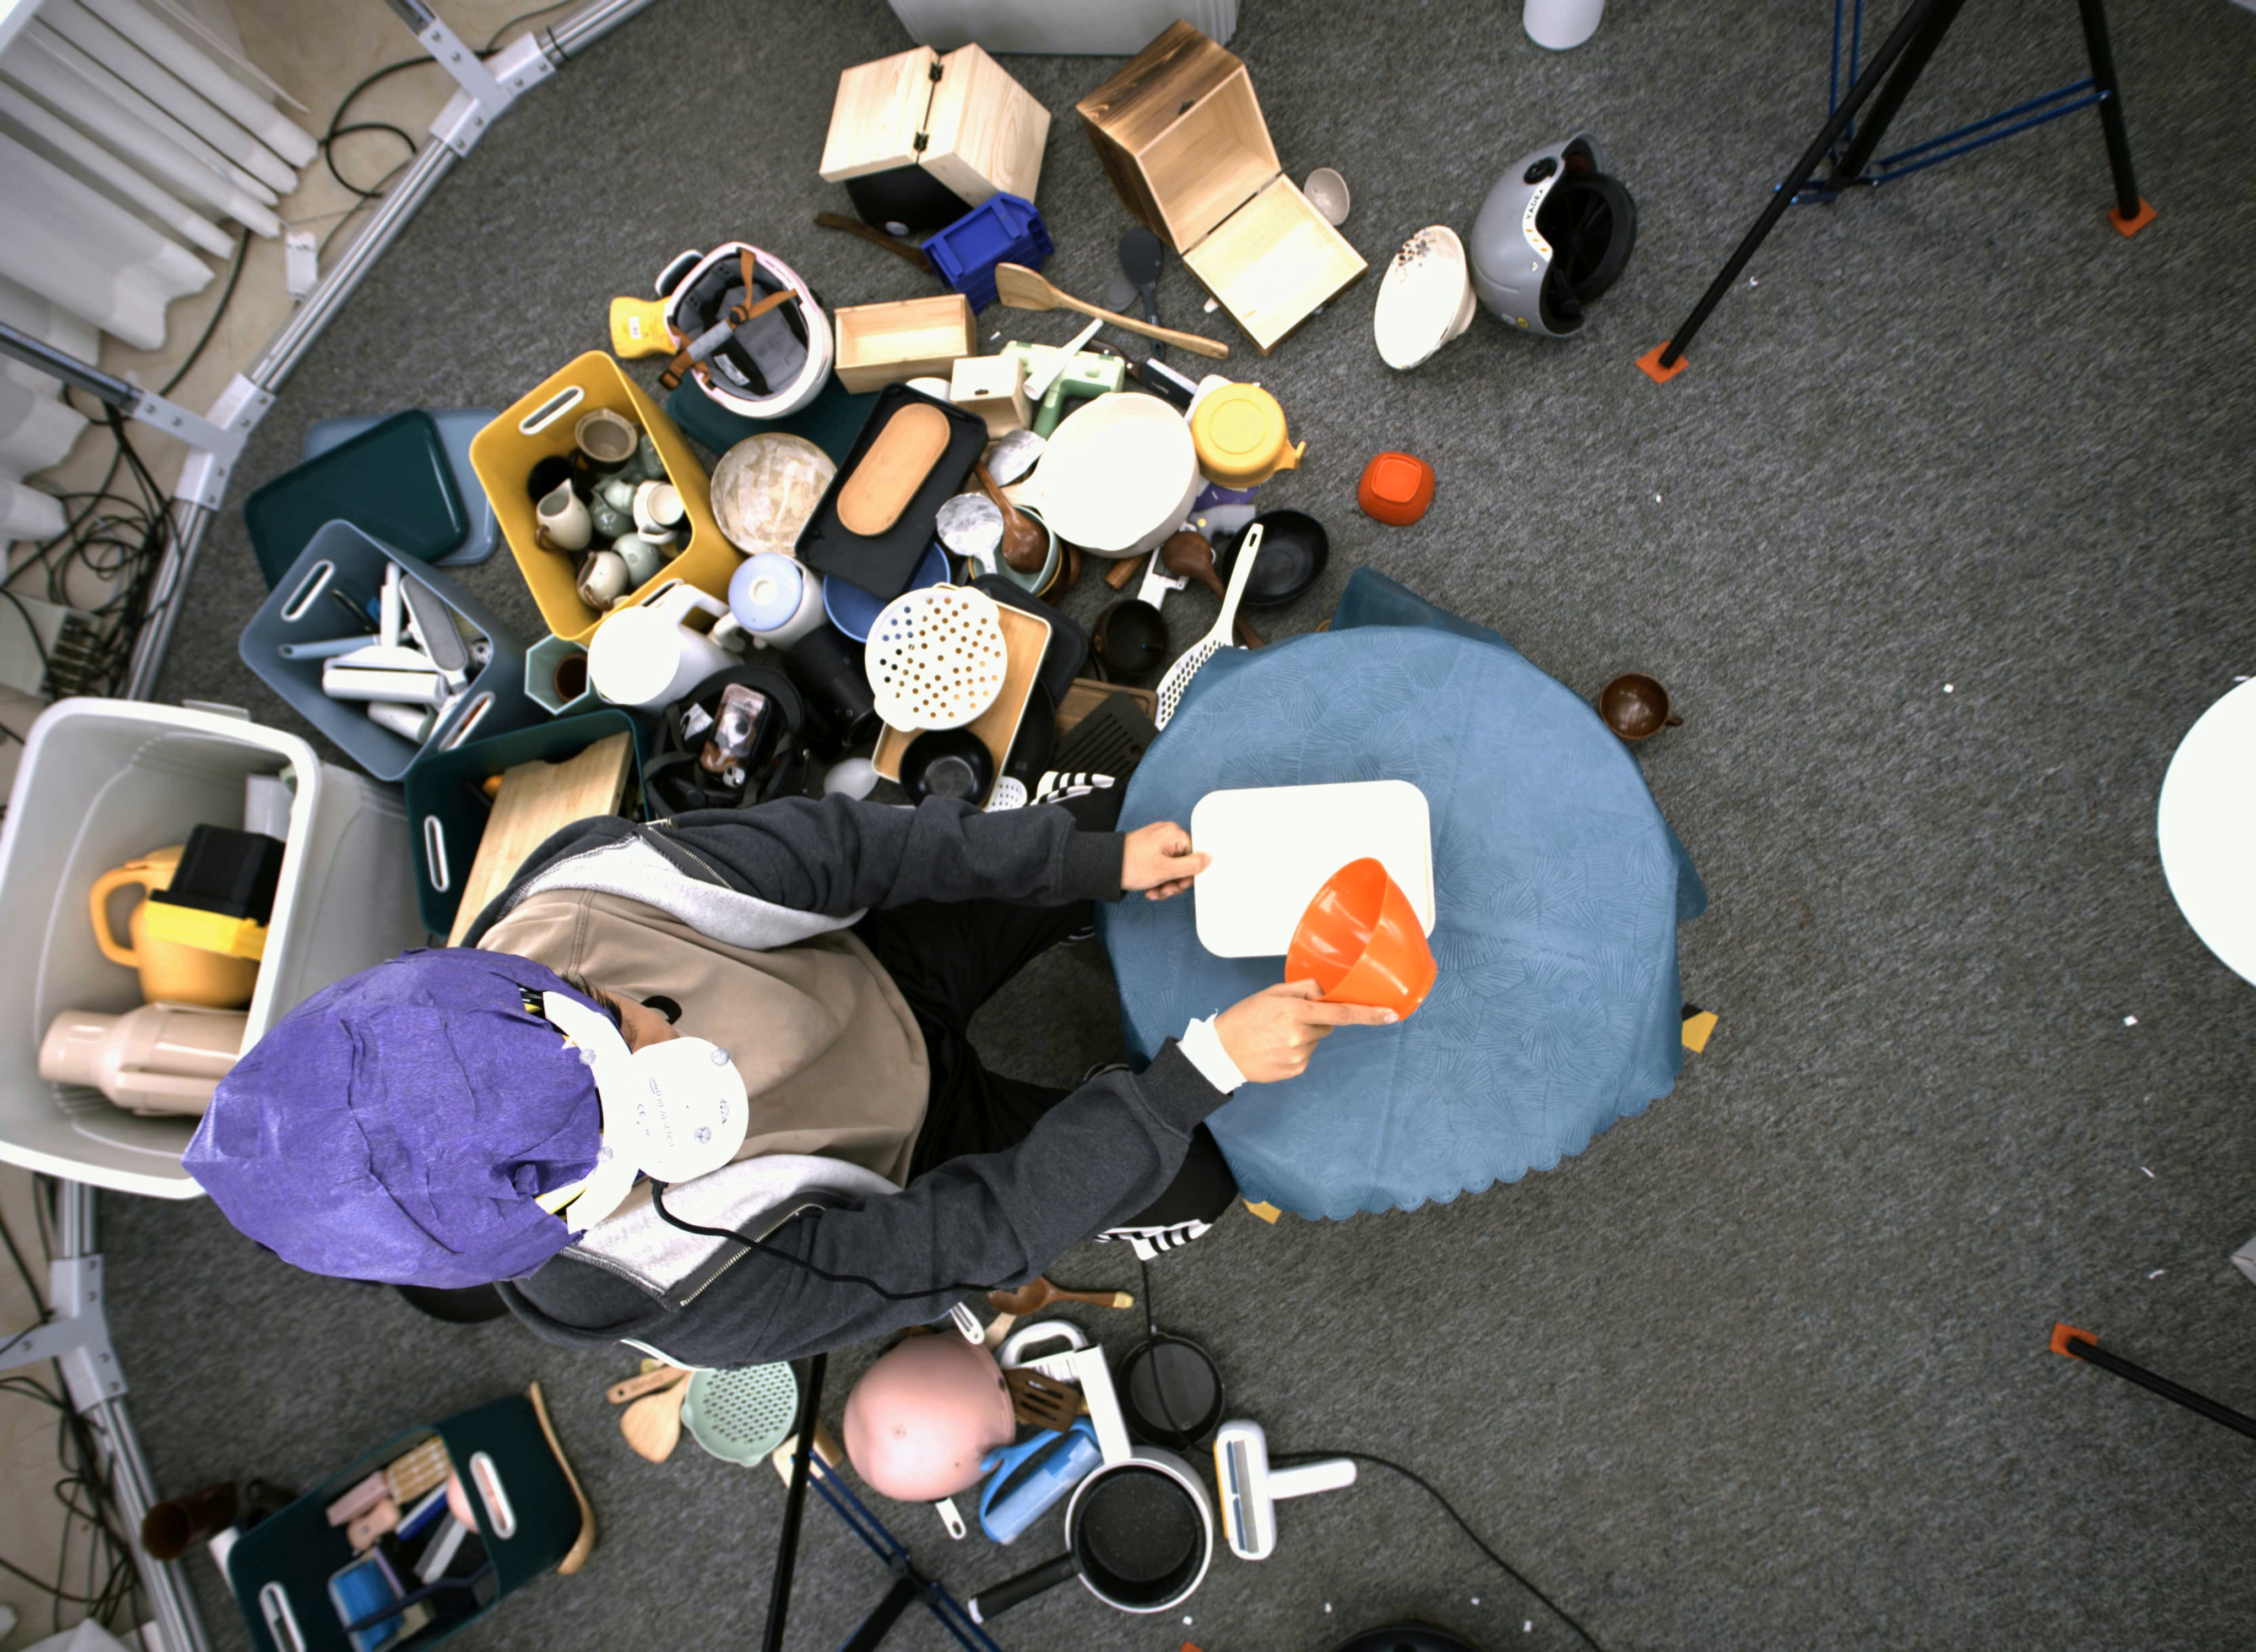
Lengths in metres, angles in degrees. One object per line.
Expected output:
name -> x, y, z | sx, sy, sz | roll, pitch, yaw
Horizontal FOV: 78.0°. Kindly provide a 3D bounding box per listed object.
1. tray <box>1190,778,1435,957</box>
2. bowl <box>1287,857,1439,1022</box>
tray -> 0.186, 0.042, 1.399 | 0.240, 0.017, 0.171 | -4, 89, 8
bowl -> 0.222, 0.115, 1.259 | 0.105, 0.147, 0.148 | 35, 91, -9
